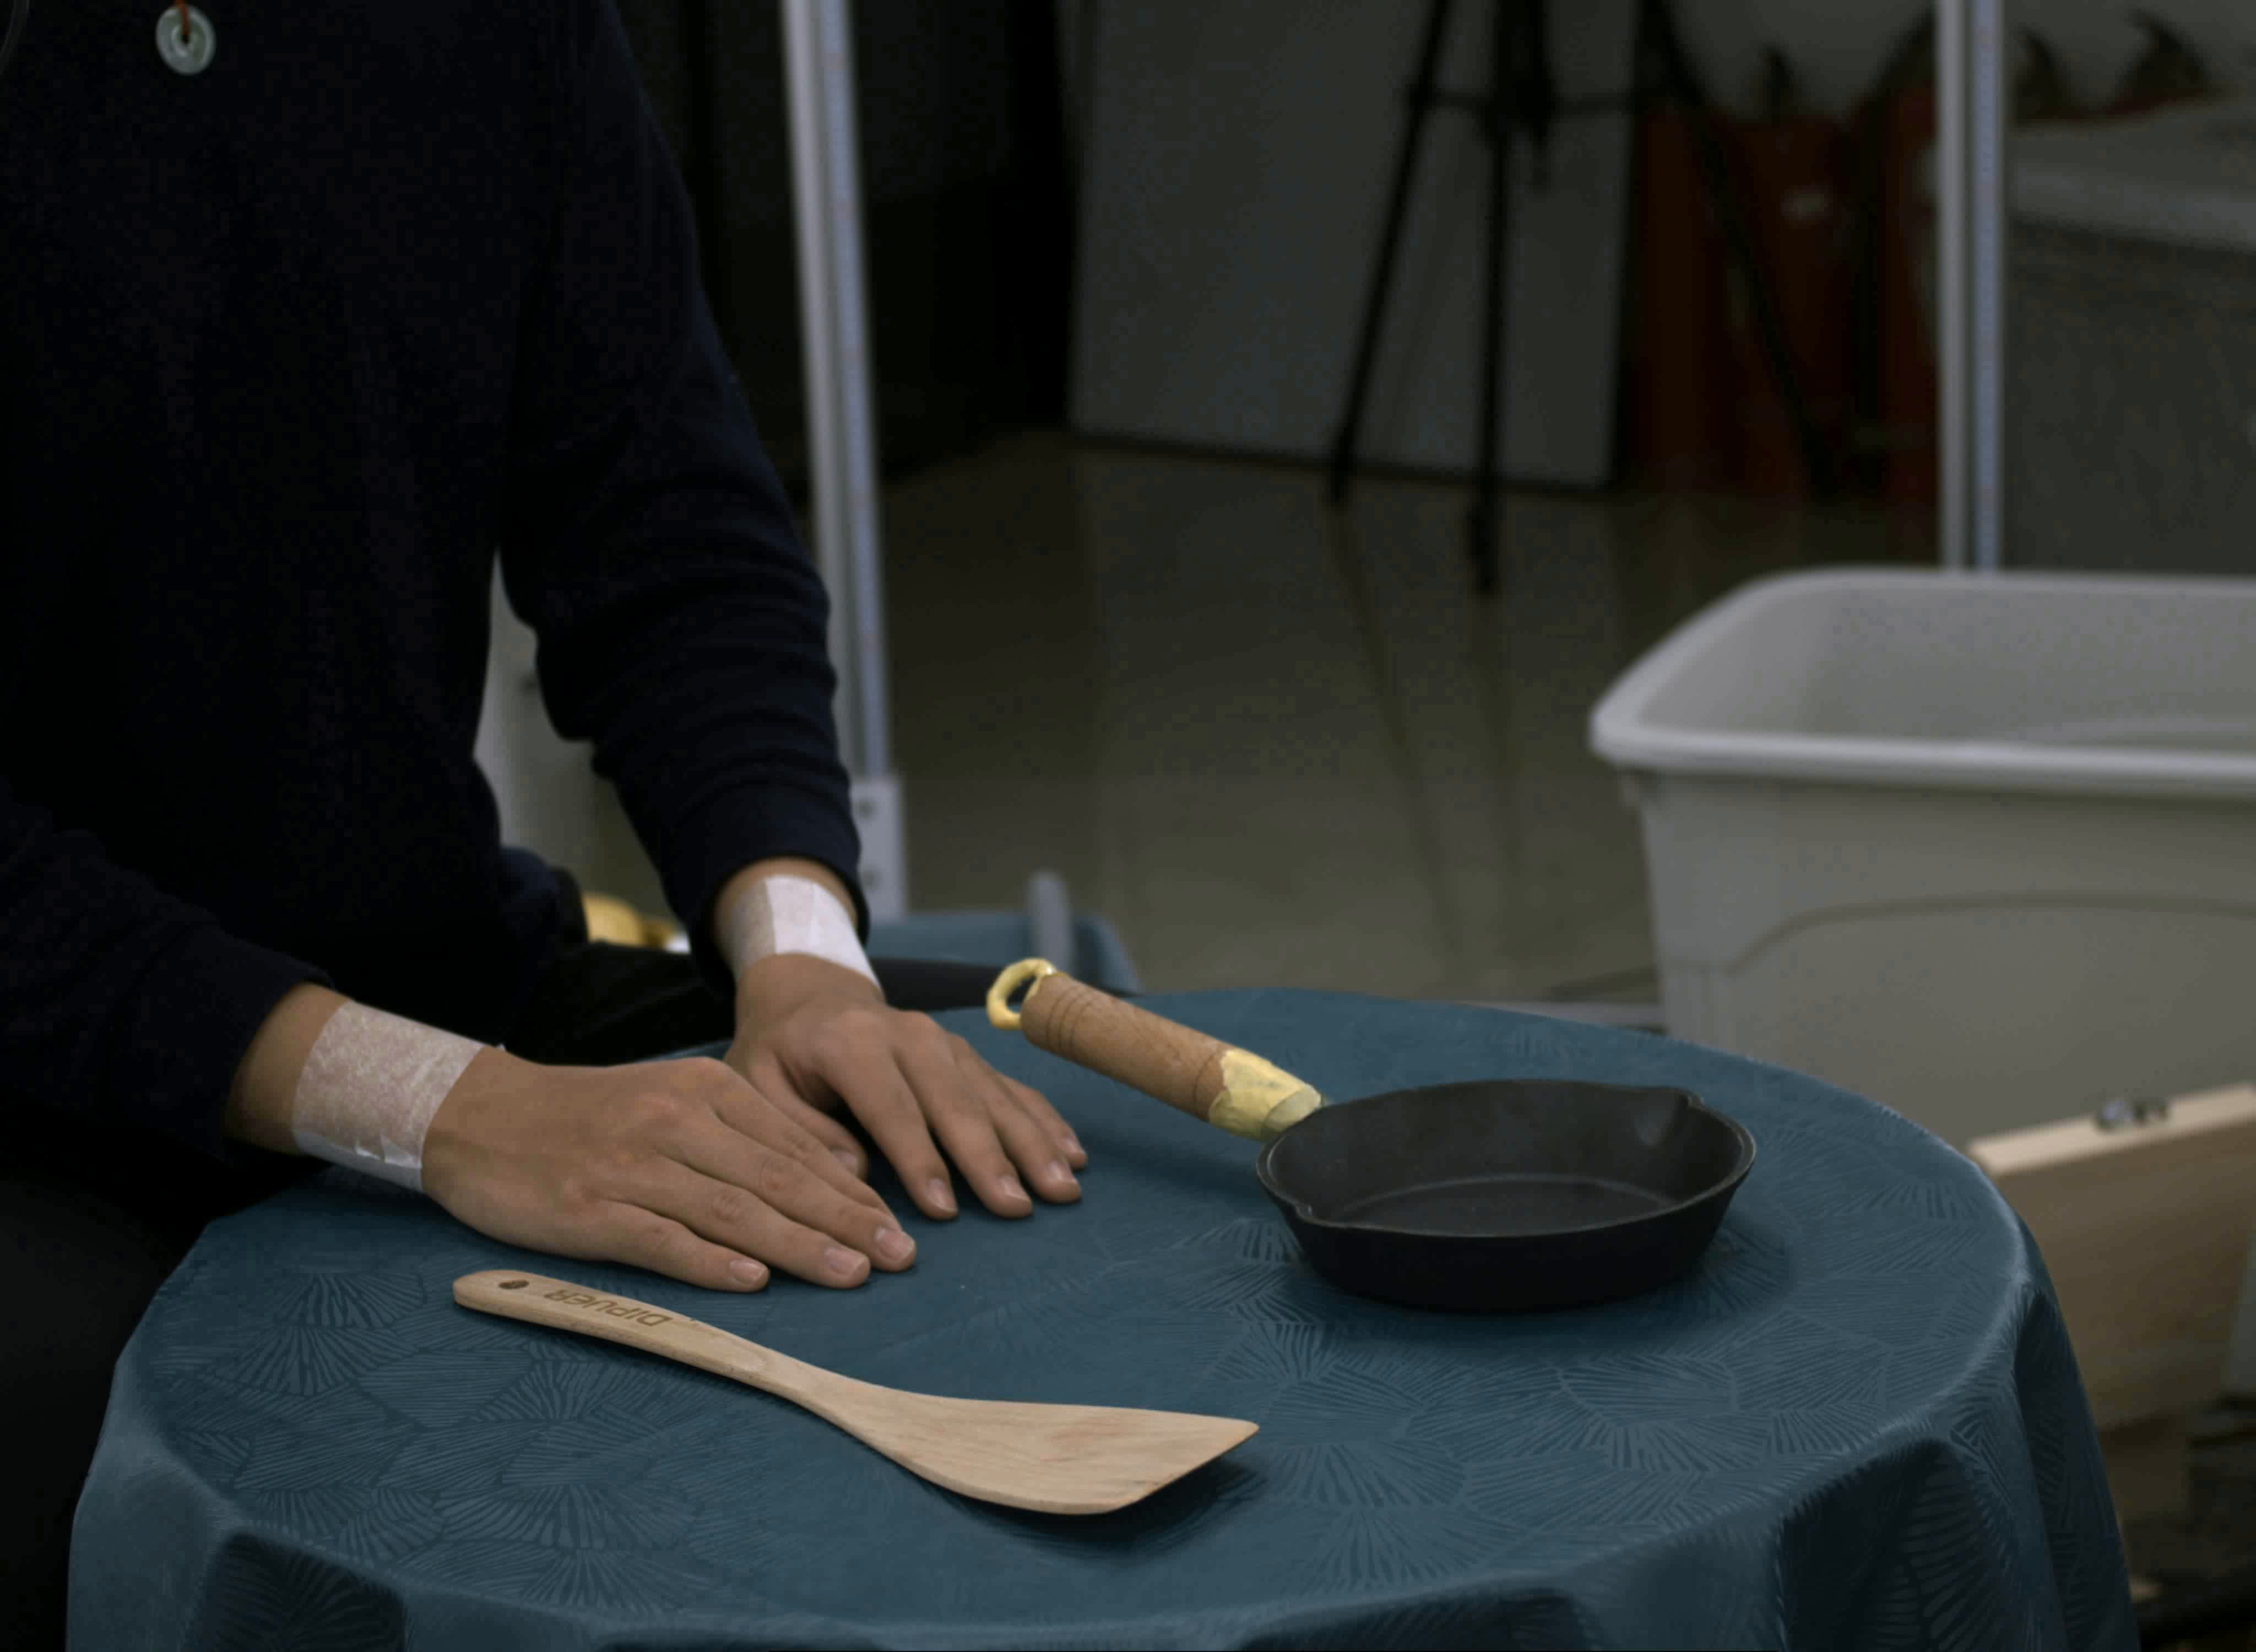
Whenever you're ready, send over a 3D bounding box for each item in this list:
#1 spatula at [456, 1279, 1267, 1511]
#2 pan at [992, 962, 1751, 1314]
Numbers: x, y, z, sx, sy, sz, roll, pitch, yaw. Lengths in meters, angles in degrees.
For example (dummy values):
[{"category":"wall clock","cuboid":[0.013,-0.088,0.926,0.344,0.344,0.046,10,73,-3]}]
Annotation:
[{"category":"spatula","cuboid":[-0.091,0.163,1.596,0.078,0.017,0.330,-16,18,-42]},{"category":"pan","cuboid":[0.064,0.096,1.747,0.165,0.050,0.327,-15,19,-37]}]
